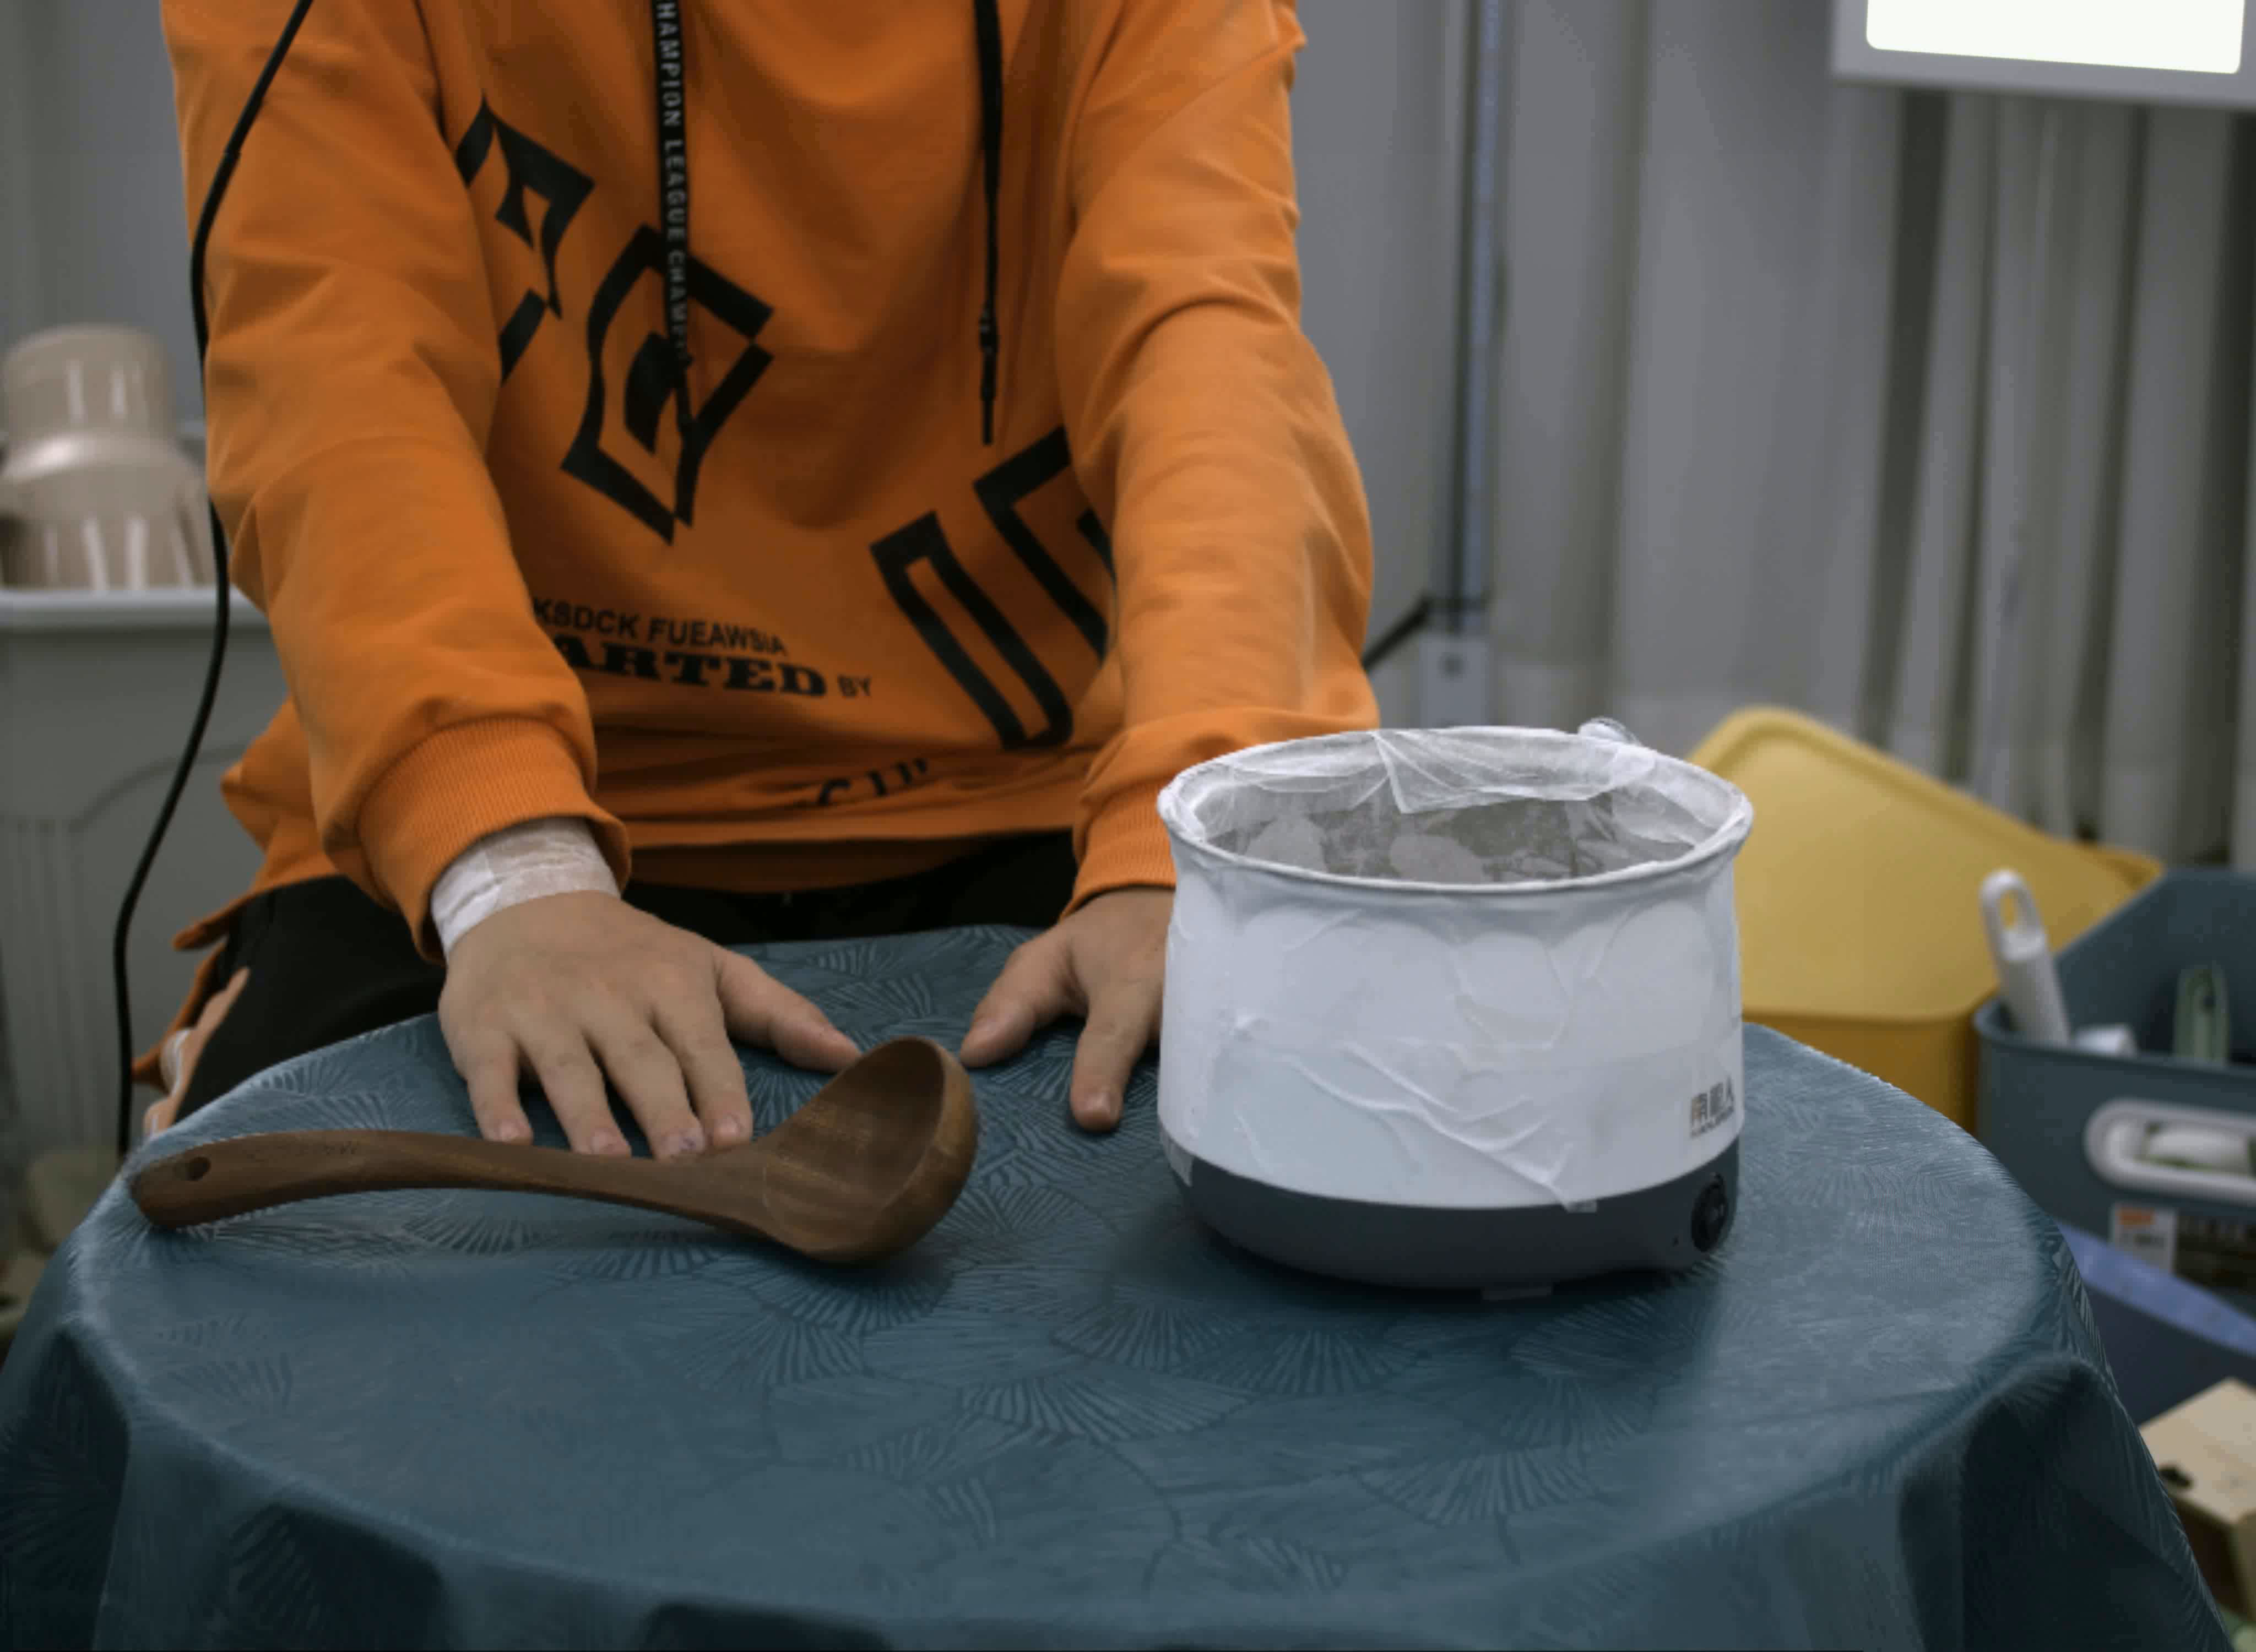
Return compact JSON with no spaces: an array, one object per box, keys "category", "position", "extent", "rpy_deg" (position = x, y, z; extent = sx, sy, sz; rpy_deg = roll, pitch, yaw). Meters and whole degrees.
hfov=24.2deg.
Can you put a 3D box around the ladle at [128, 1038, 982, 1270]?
[{"category":"ladle","position":[-0.172,0.096,1.564],"extent":[0.259,0.066,0.076],"rpy_deg":[2,42,2]}]

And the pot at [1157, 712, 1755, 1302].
[{"category":"pot","position":[0.111,0.047,1.601],"extent":[0.176,0.138,0.234],"rpy_deg":[10,19,28]}]
